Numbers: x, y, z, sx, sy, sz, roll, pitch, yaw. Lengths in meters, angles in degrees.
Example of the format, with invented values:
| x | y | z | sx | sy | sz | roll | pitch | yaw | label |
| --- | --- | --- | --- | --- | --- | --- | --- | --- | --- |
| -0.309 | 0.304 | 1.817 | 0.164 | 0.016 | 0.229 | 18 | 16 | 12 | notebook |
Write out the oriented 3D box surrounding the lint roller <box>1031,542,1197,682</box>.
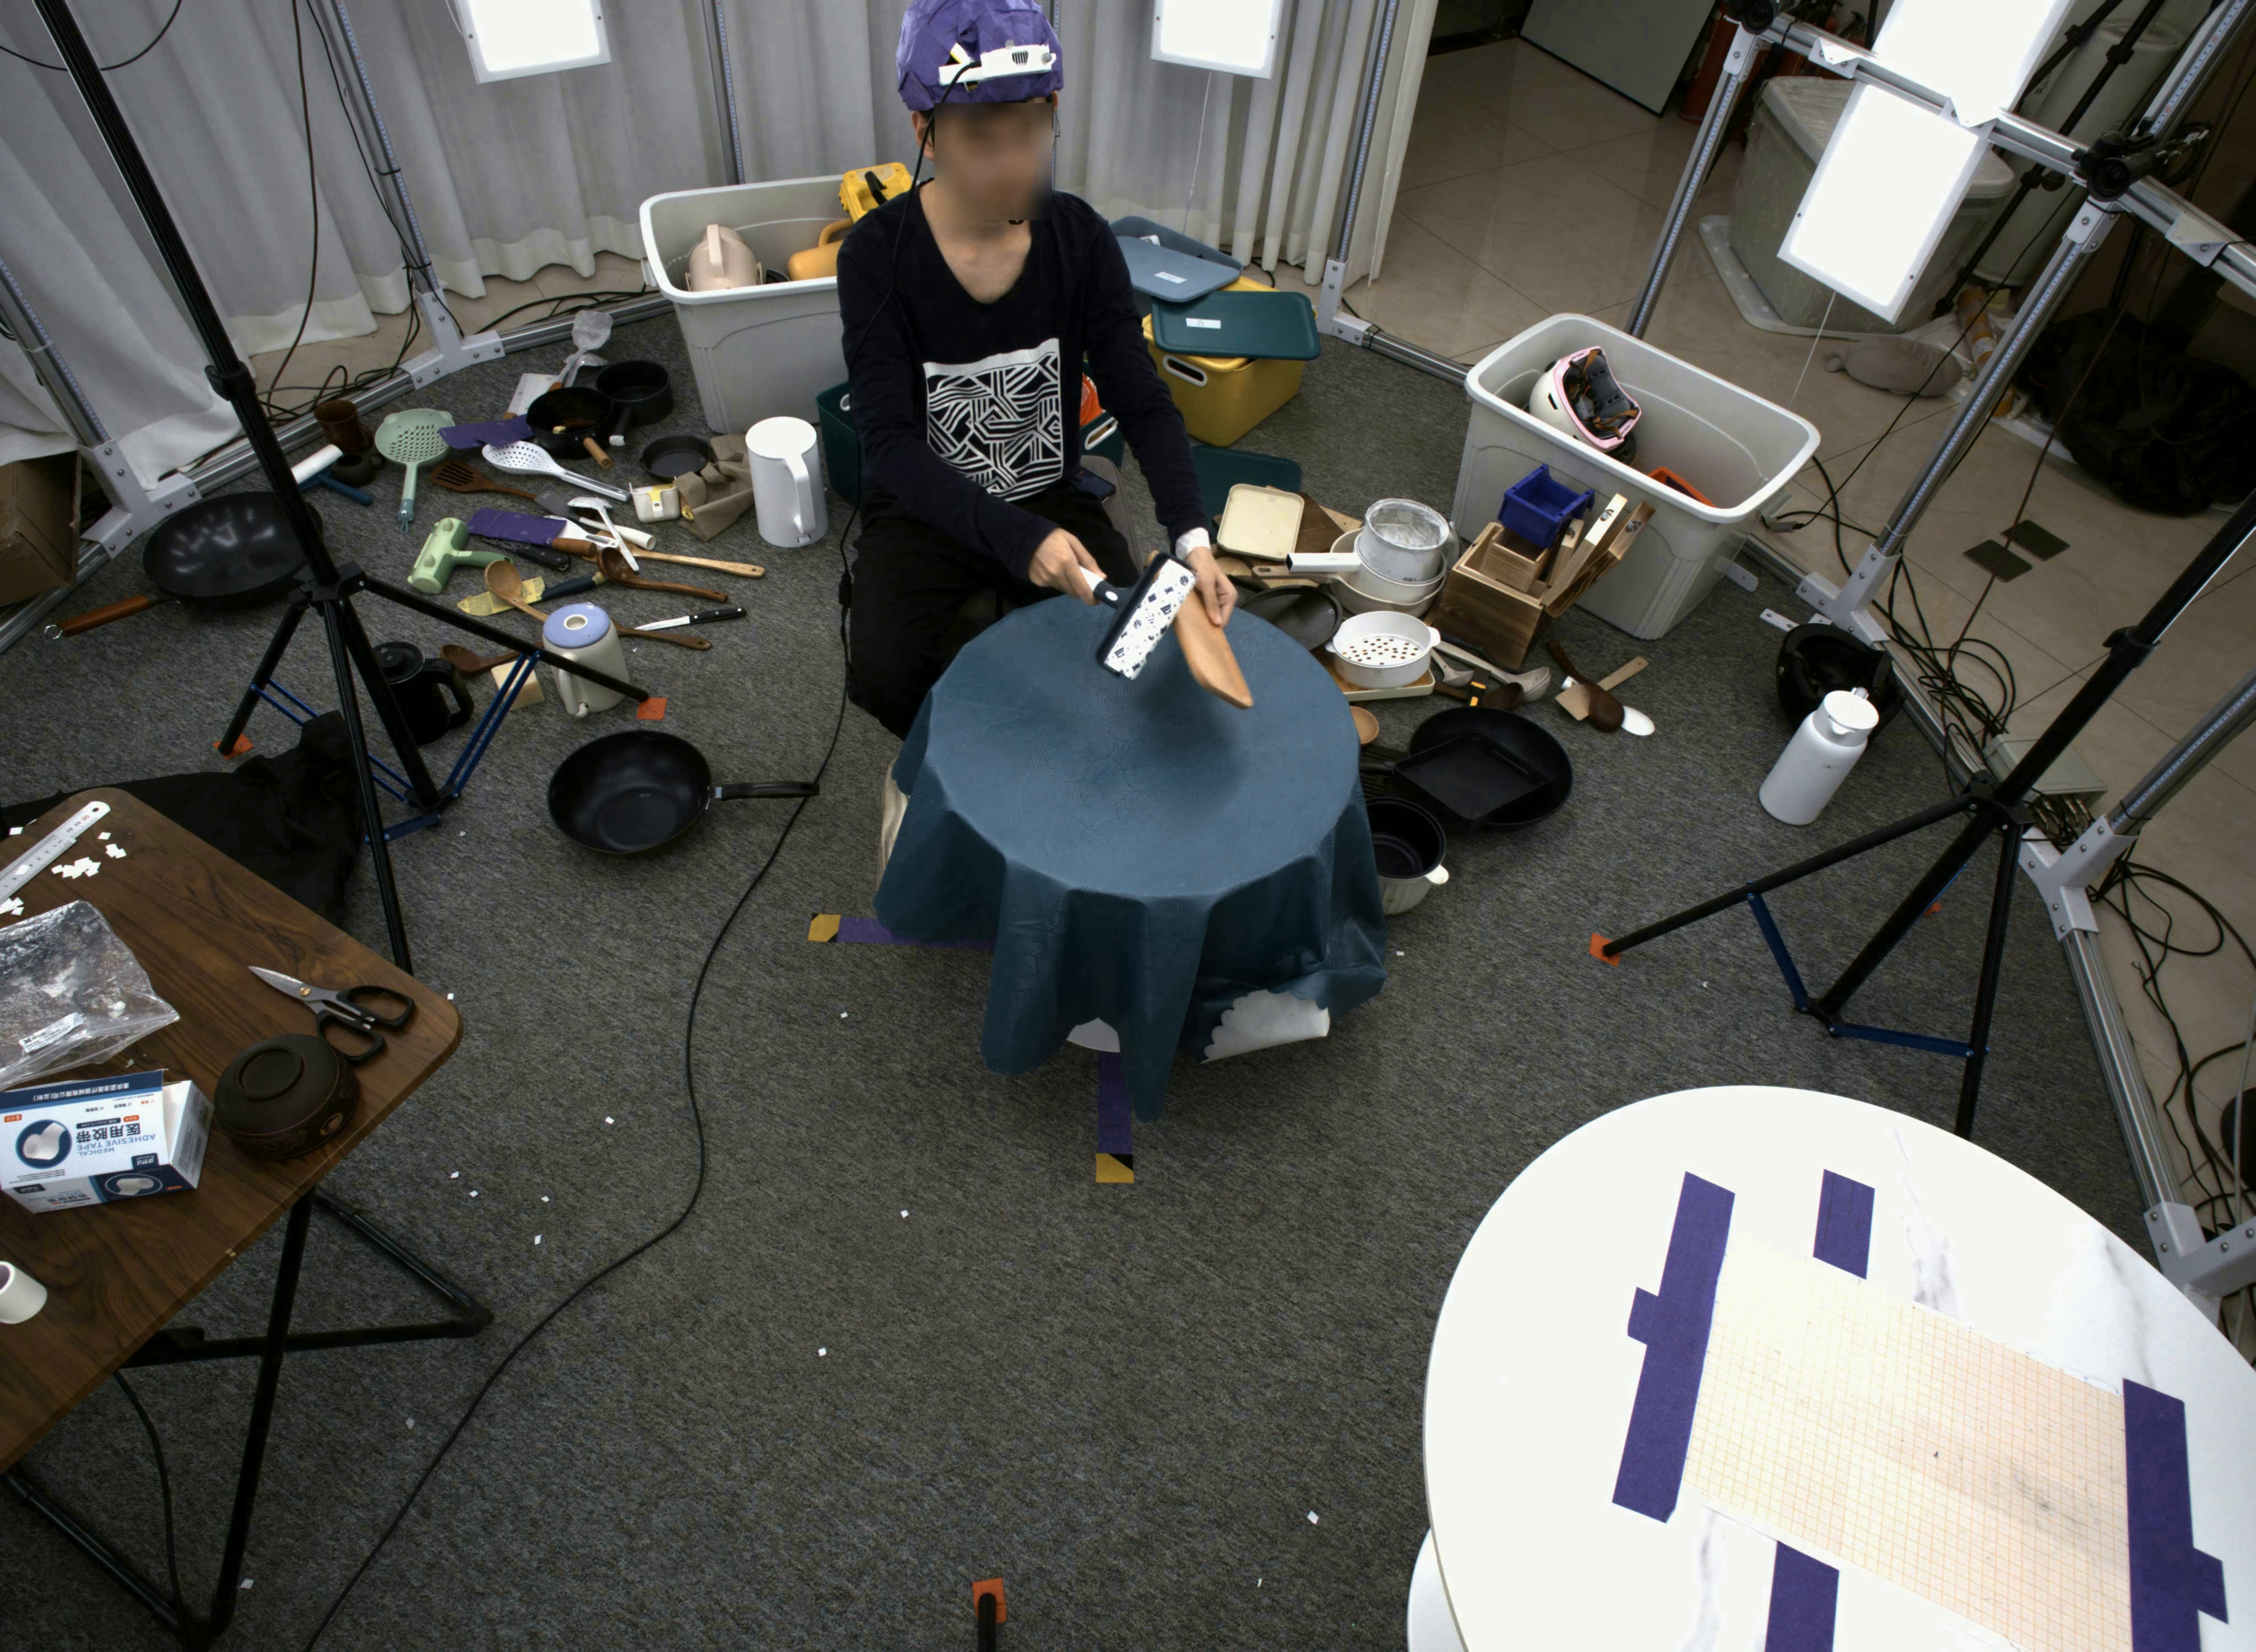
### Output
| x | y | z | sx | sy | sz | roll | pitch | yaw | label |
| --- | --- | --- | --- | --- | --- | --- | --- | --- | --- |
| -0.045 | -0.322 | 1.730 | 0.250 | 0.050 | 0.176 | 35 | 95 | 27 | lint roller |

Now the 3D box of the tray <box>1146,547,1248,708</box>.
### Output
| x | y | z | sx | sy | sz | roll | pitch | yaw | label |
| --- | --- | --- | --- | --- | --- | --- | --- | --- | --- |
| 0.092 | -0.271 | 1.751 | 0.023 | 0.128 | 0.257 | -35 | 52 | 23 | tray |
